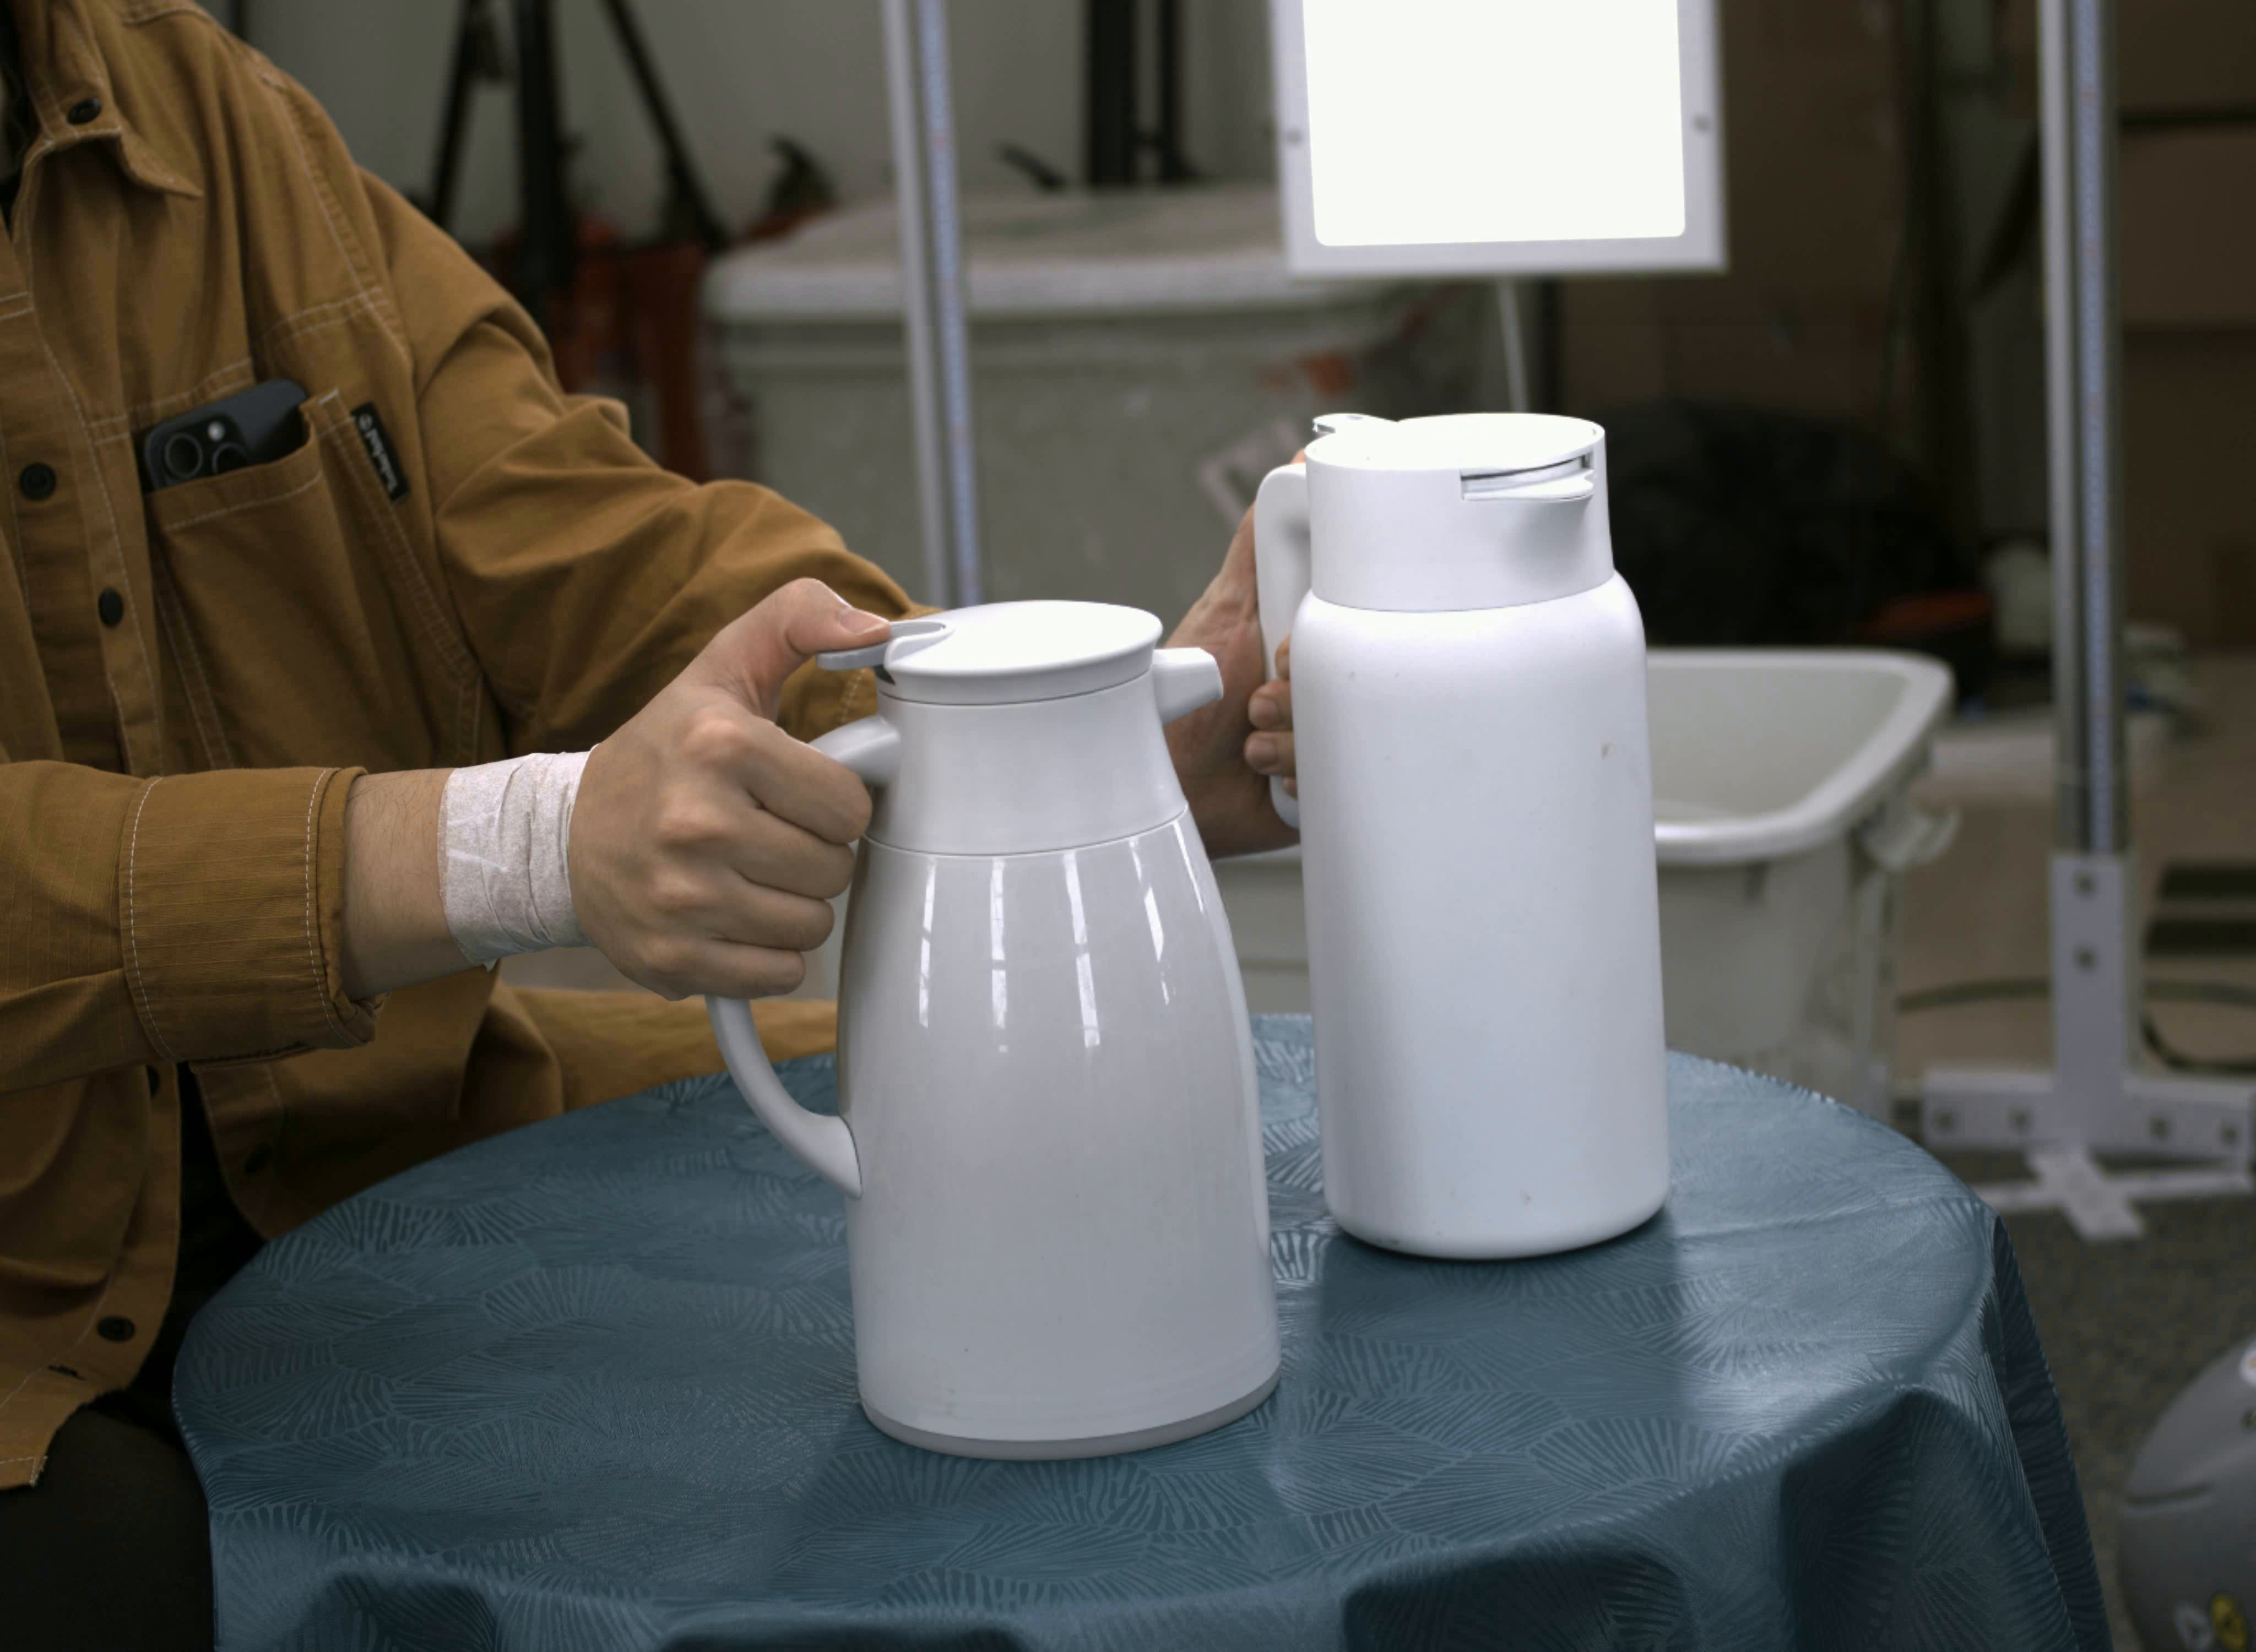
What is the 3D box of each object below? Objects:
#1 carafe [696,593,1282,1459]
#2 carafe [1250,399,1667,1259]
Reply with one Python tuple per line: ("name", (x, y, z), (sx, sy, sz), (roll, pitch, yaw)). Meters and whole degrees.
("carafe", (-0.045, 0.057, 1.676), (0.165, 0.249, 0.134), (-9, 14, -13))
("carafe", (0.104, -0.002, 1.822), (0.121, 0.270, 0.176), (-15, 17, -29))
